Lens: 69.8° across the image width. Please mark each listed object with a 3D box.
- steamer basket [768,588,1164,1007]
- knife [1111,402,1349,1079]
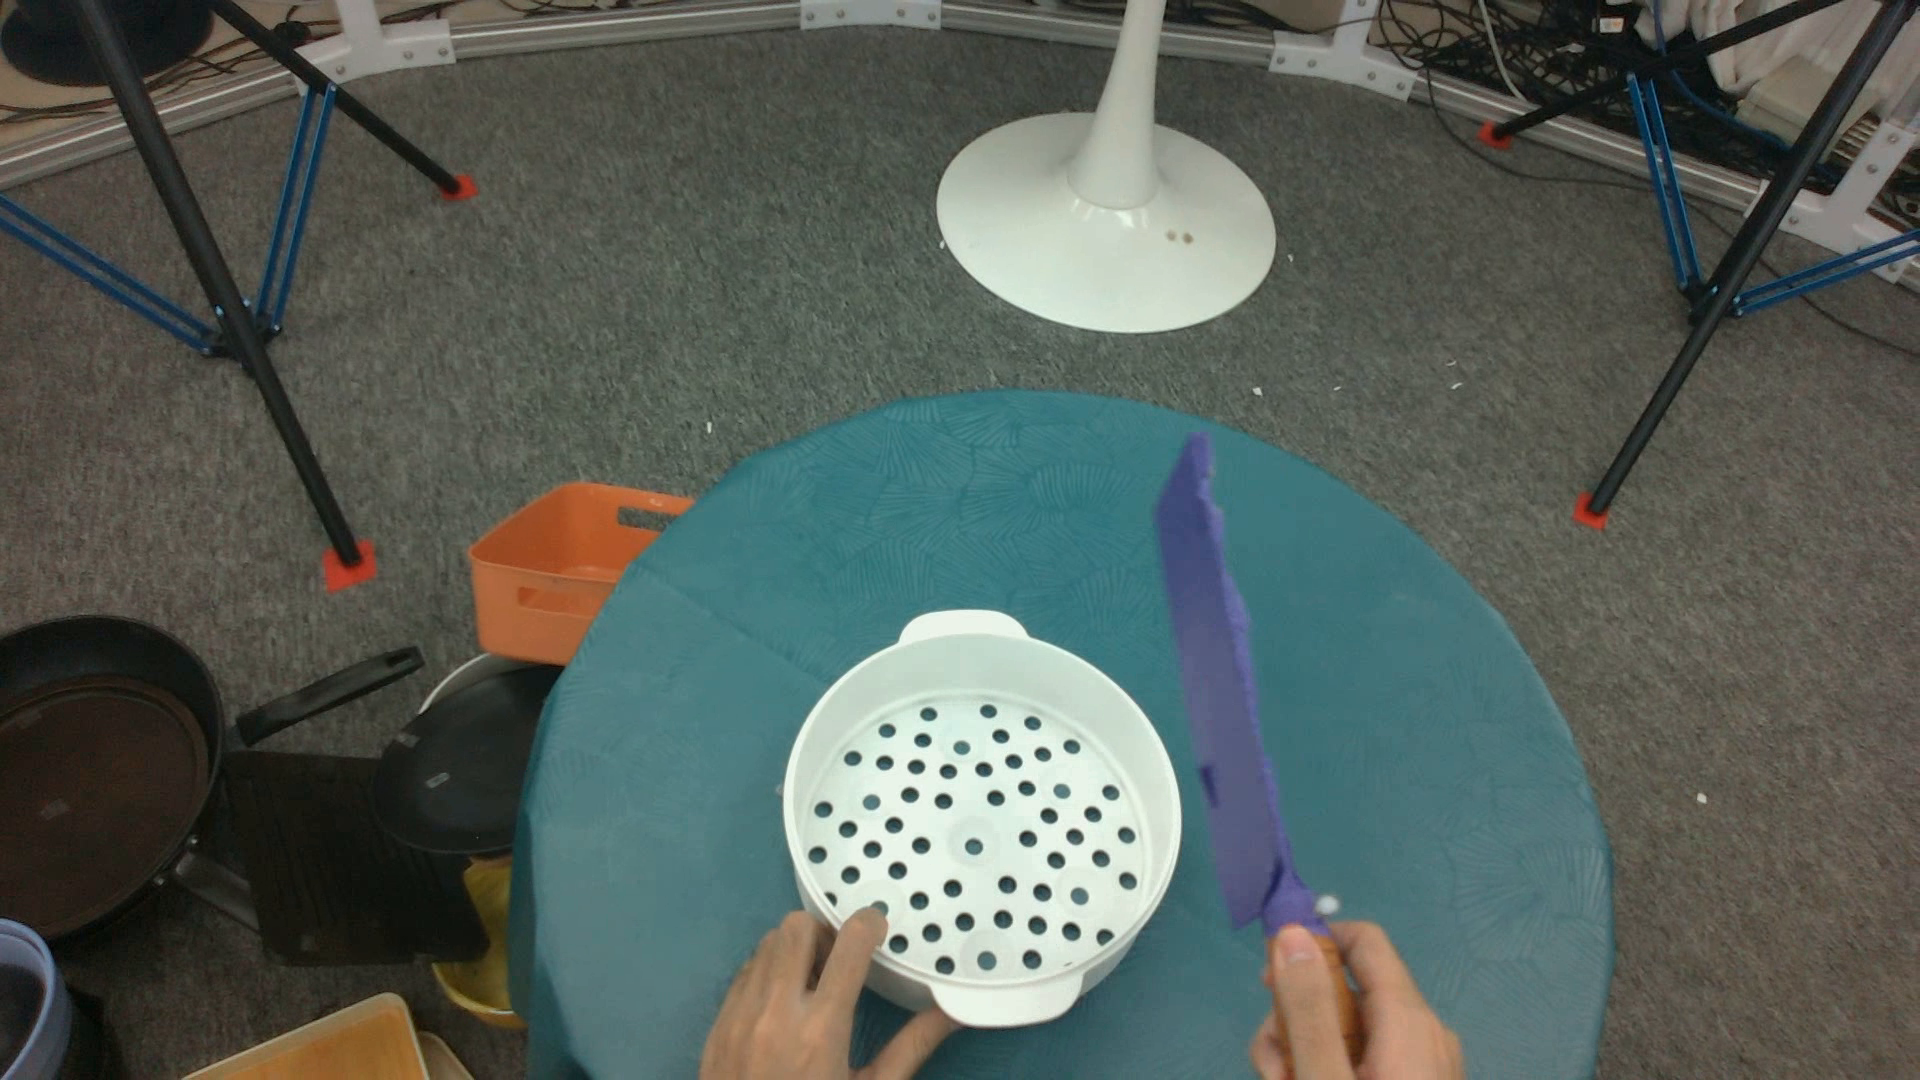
[{"bbox_3d":[0.002,0.136,0.721,0.202,0.069,0.231,-2,54,-7],"label":"steamer basket"},{"bbox_3d":[0.108,0.099,0.587,0.032,0.103,0.316,-5,66,-8],"label":"knife"}]
